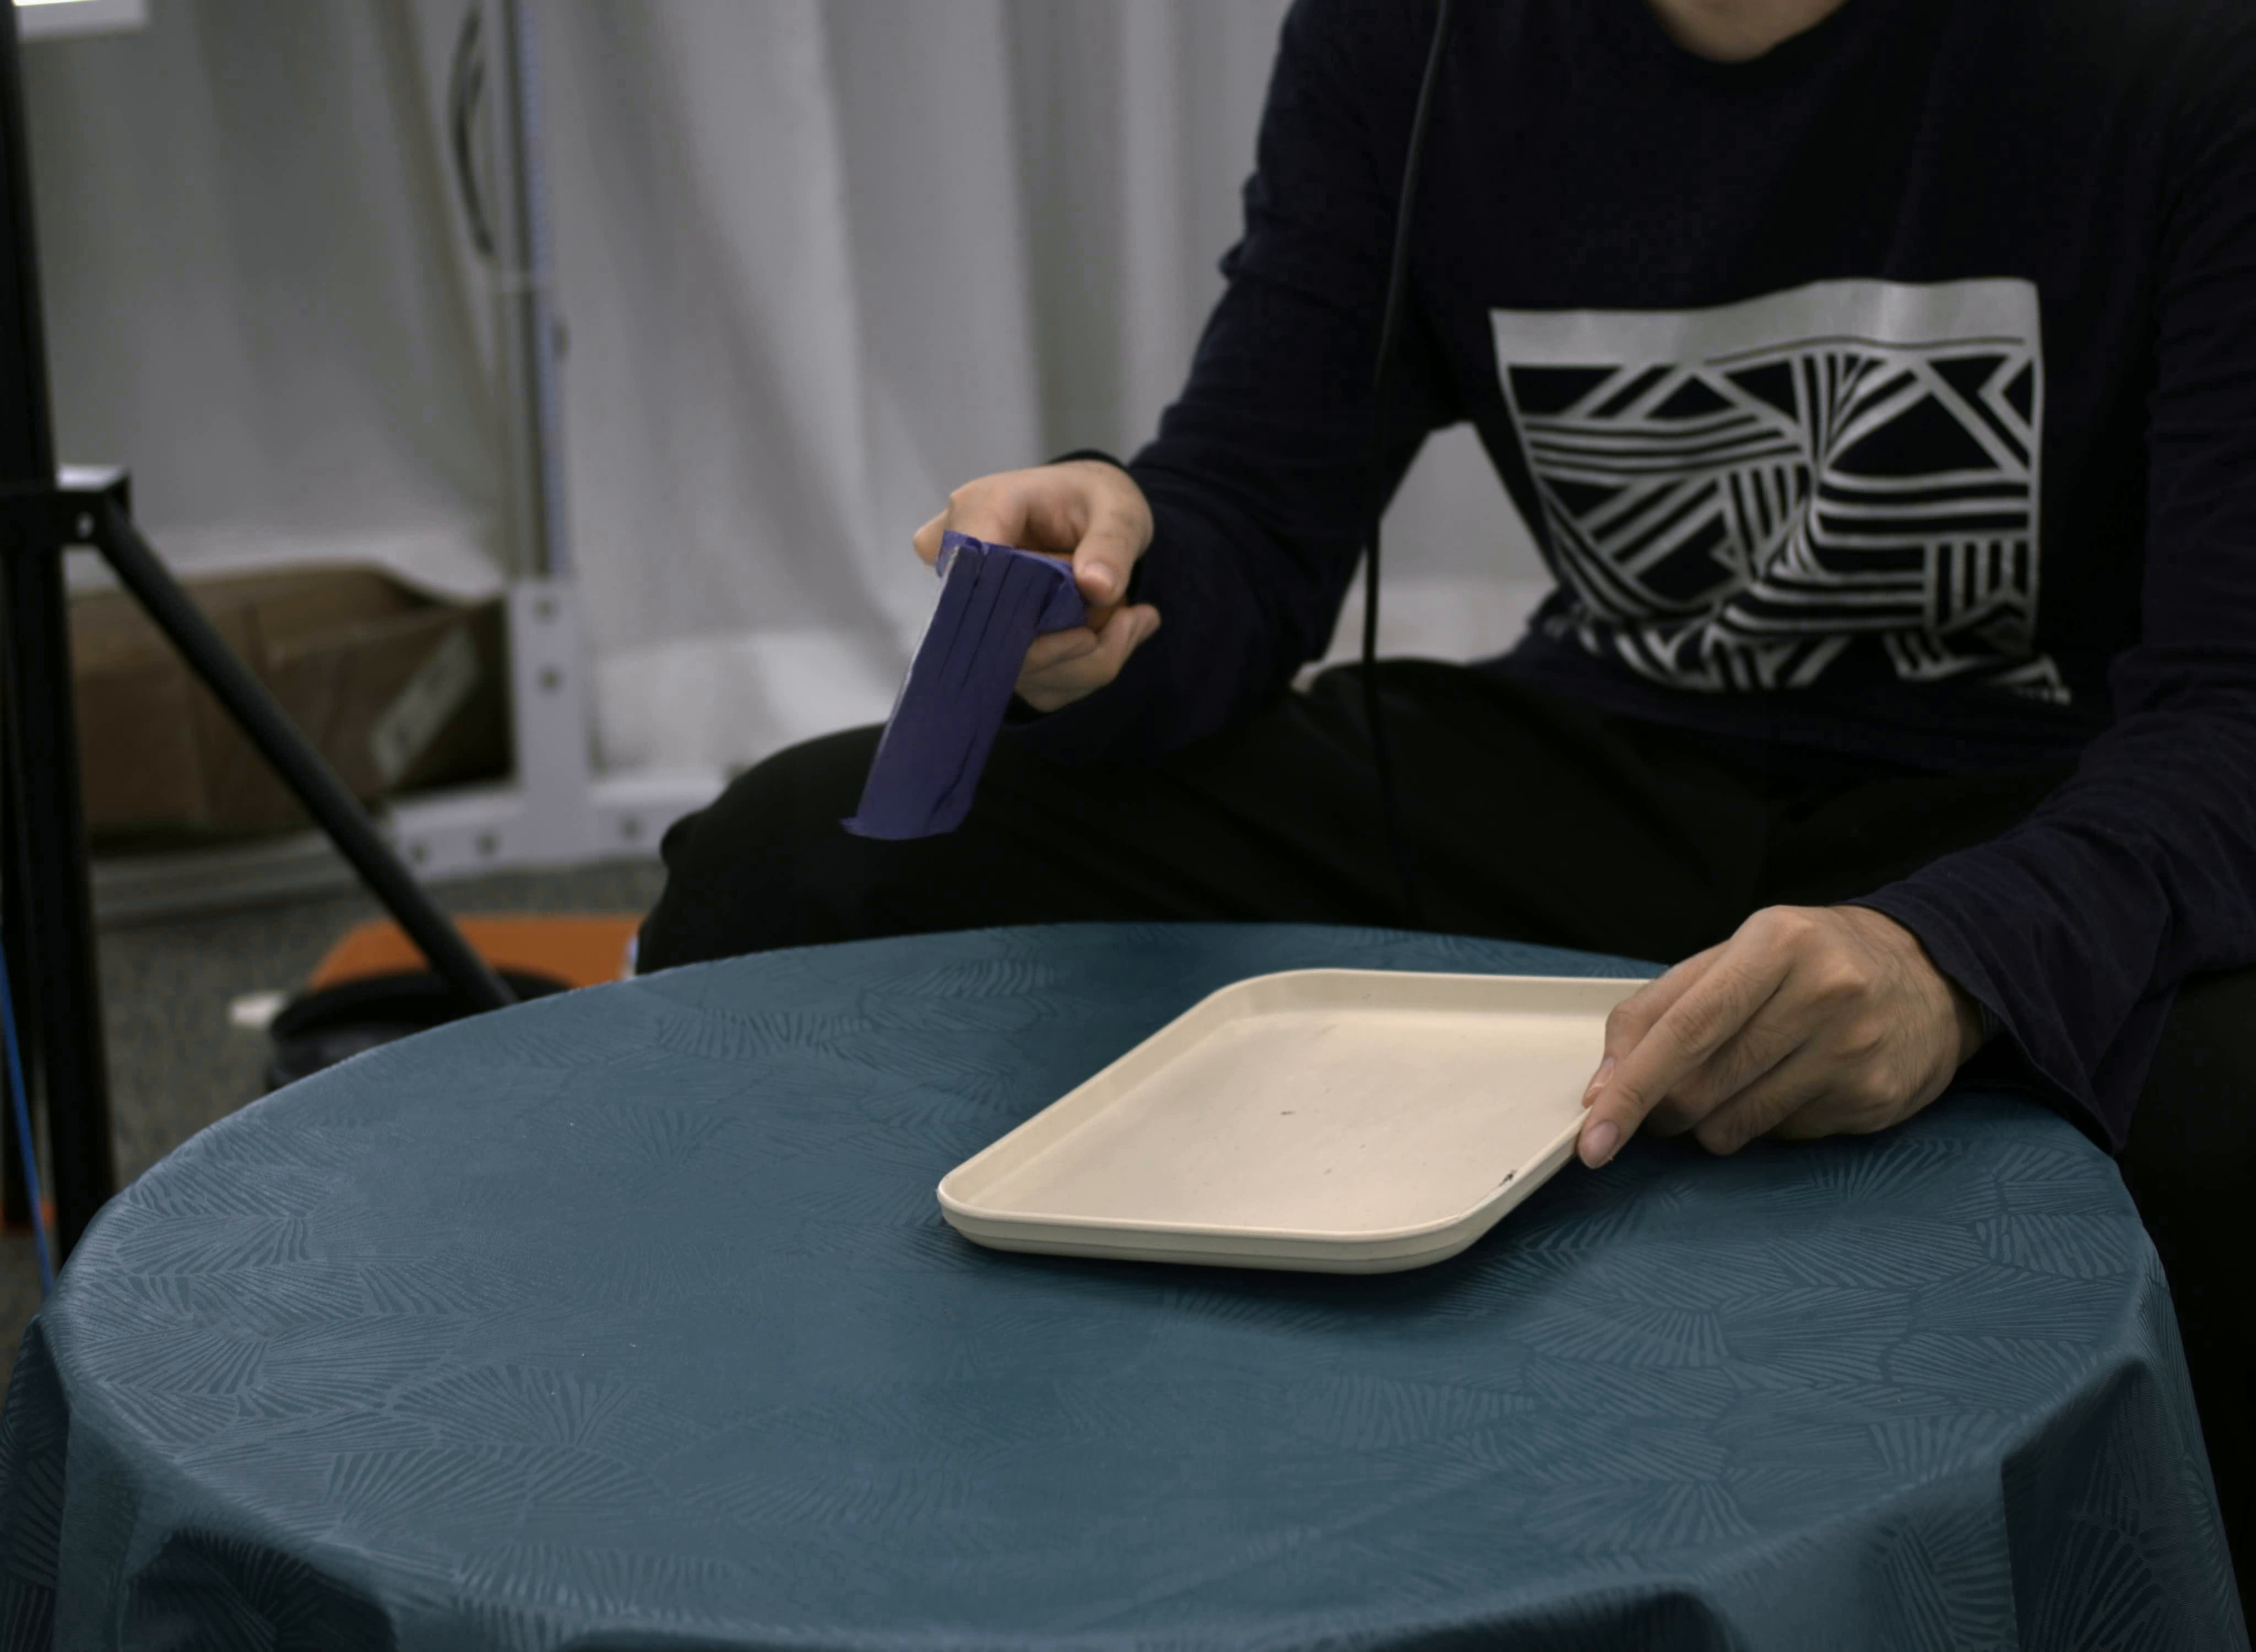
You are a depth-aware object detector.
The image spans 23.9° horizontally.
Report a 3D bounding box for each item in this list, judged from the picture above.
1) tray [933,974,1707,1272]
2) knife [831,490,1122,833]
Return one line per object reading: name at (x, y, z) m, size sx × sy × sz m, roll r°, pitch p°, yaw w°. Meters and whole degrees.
tray at (0.061, 0.087, 1.575) m, size 0.174 × 0.017 × 0.236 m, roll 0°, pitch 16°, yaw 28°
knife at (-0.049, -0.044, 1.643) m, size 0.032 × 0.104 × 0.312 m, roll 24°, pitch 2°, yaw 8°
